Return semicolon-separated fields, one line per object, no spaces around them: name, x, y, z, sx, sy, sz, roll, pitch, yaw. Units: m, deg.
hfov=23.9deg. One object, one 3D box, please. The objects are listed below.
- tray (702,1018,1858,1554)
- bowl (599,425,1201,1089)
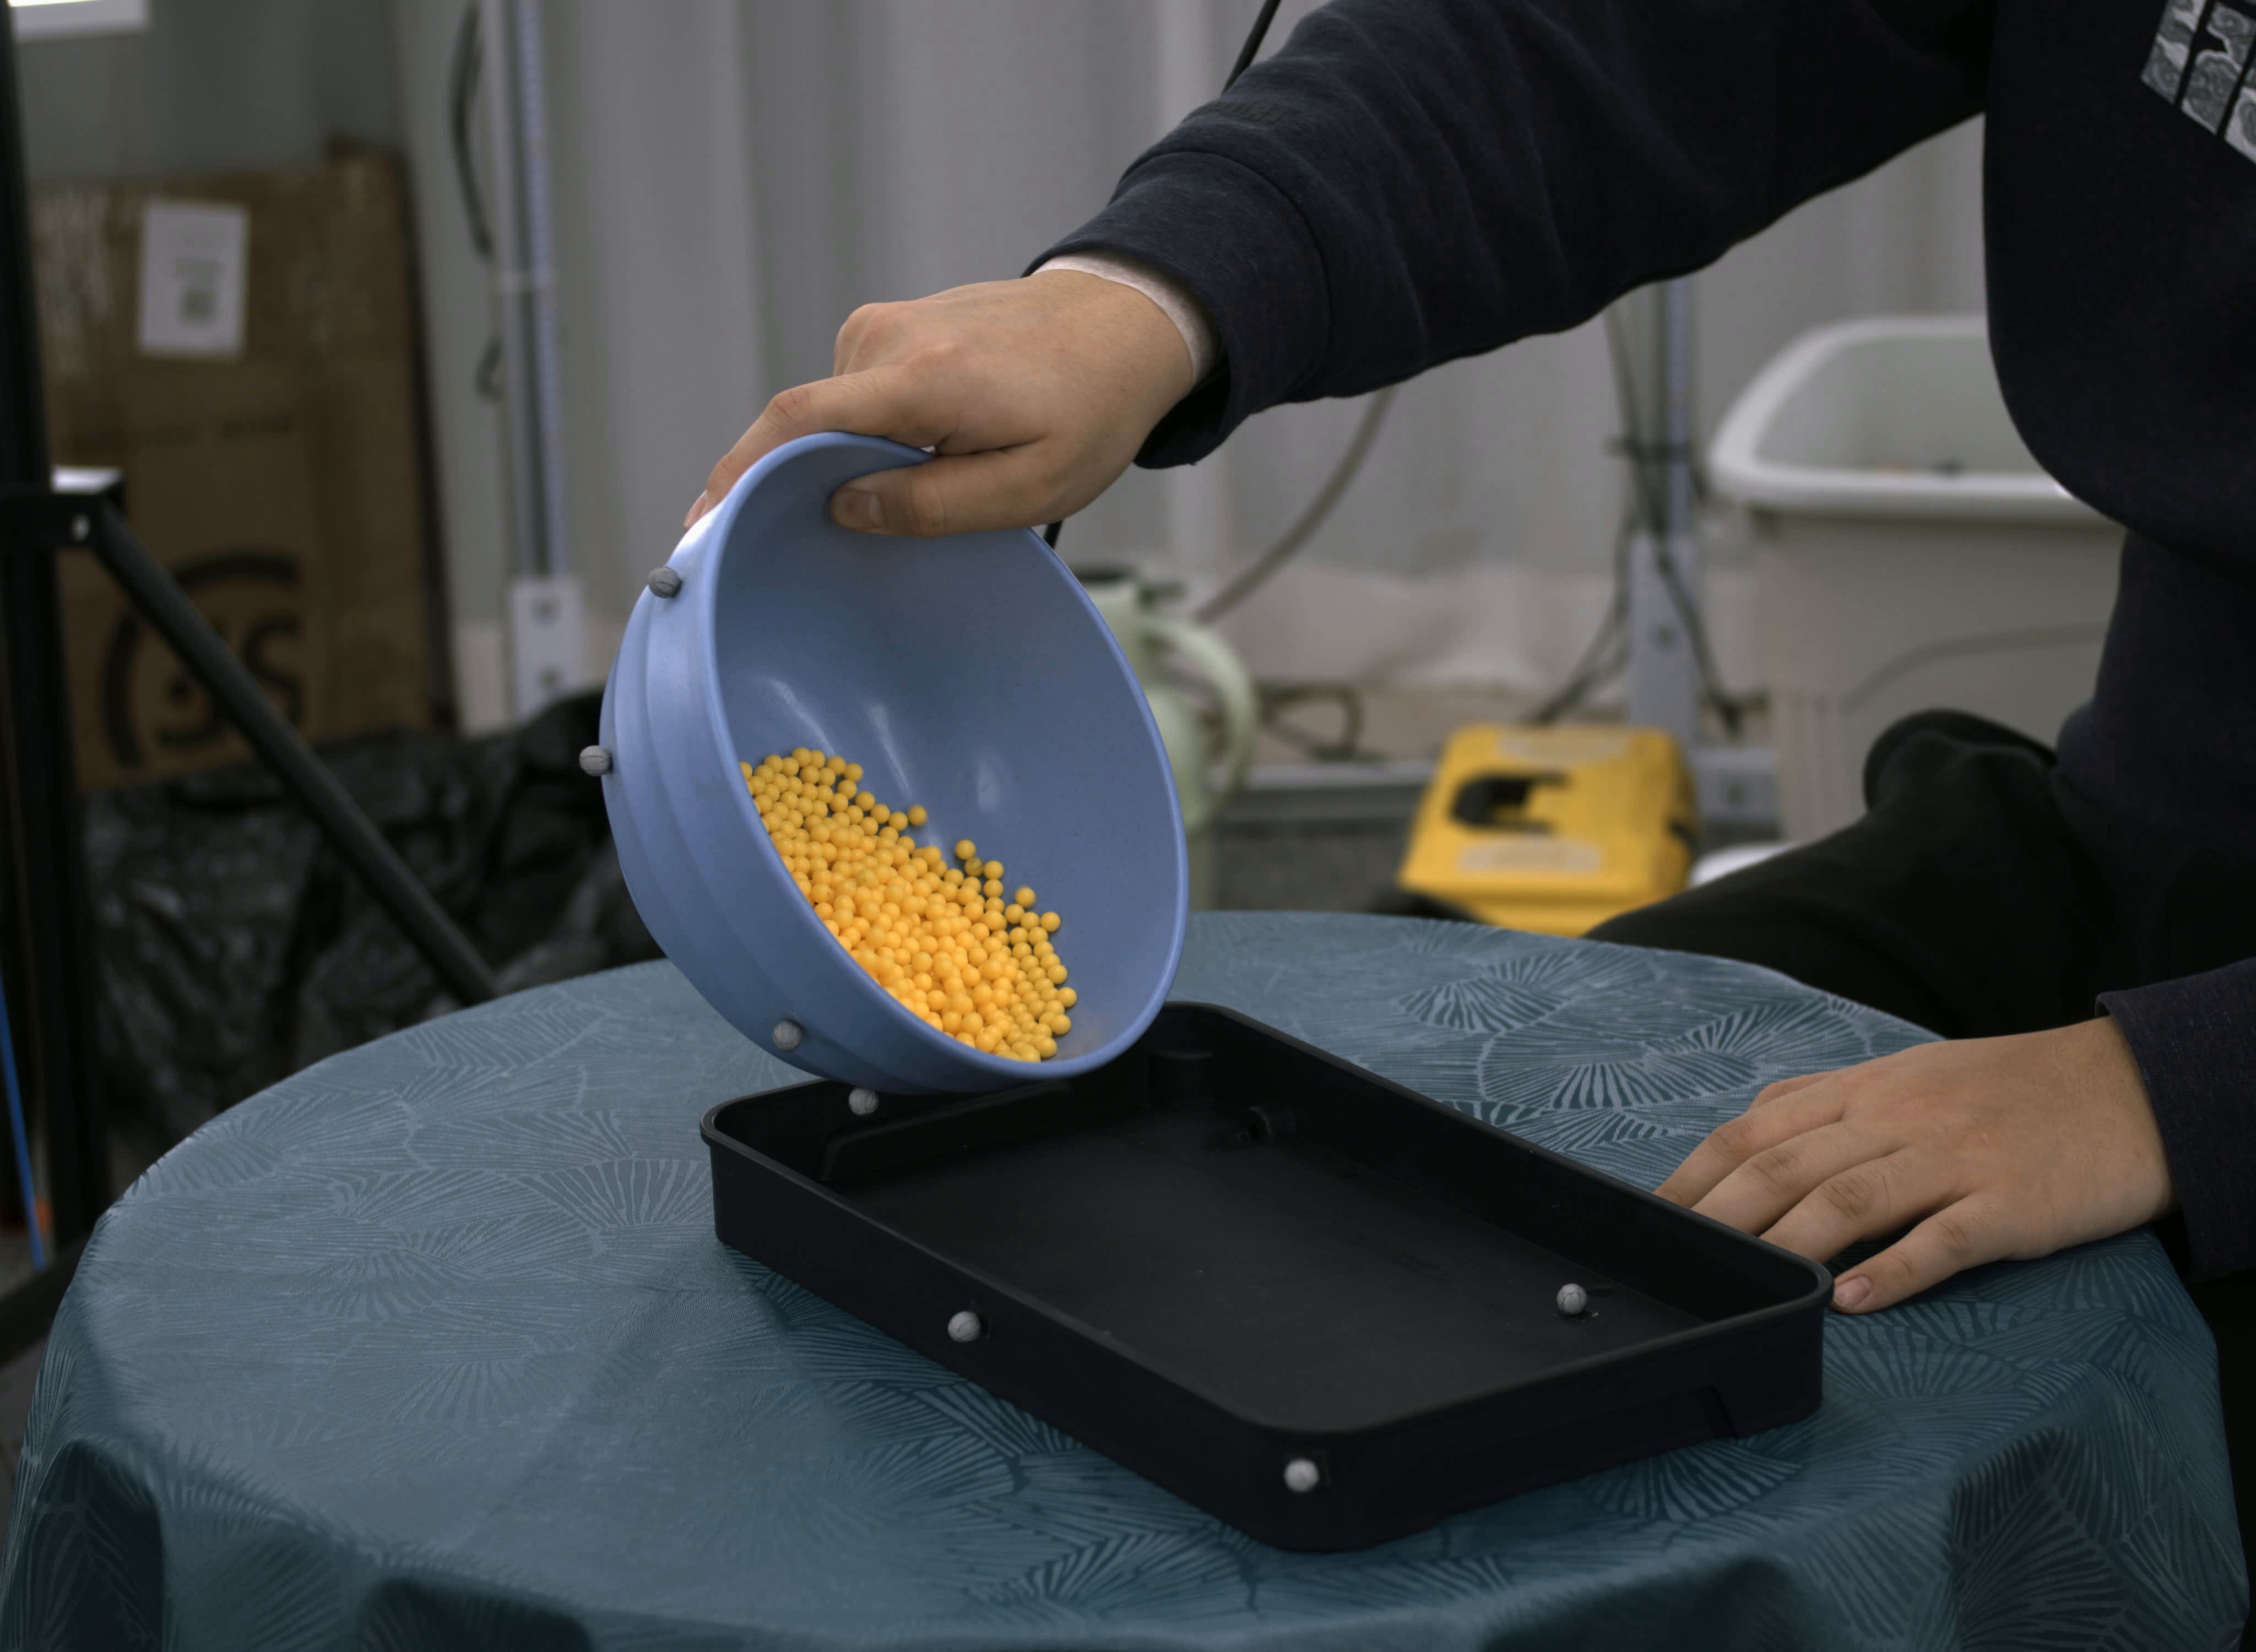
tray;0.034;0.119;1.453;0.180;0.037;0.325;-12;17;-32
bowl;-0.080;-0.006;1.522;0.097;0.197;0.192;-31;-5;38
